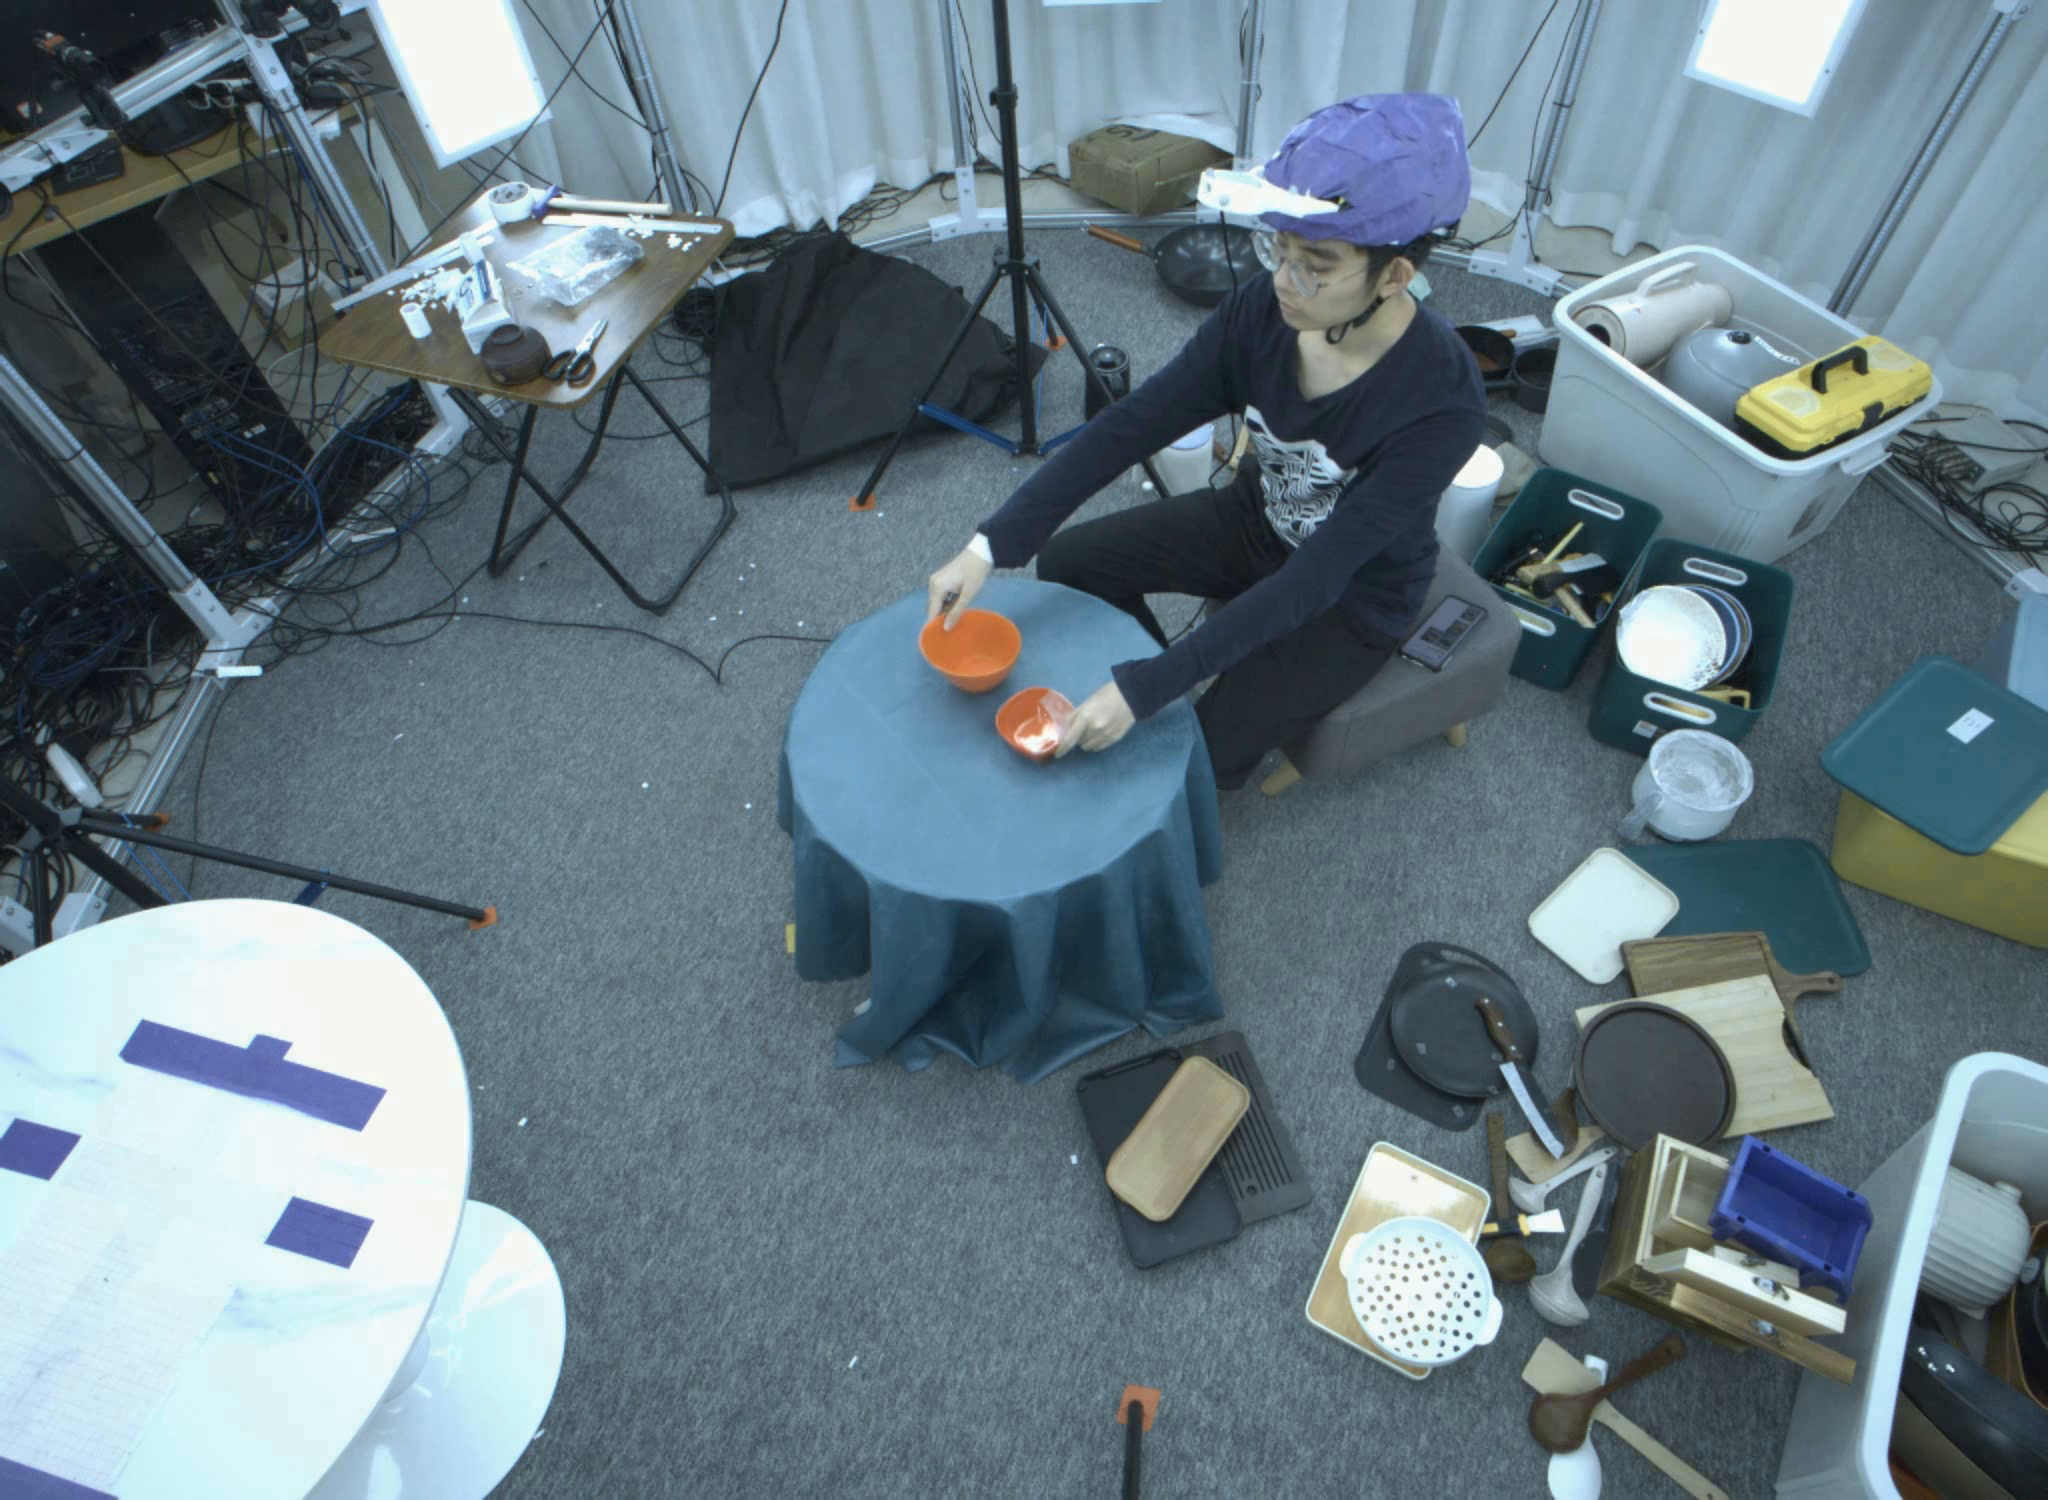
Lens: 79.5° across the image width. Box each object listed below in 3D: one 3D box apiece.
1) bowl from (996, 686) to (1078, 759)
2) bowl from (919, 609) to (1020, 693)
[{"bbox_3d":[0.020,-0.032,1.785,0.119,0.052,0.117,-1,55,3],"label":"bowl"},{"bbox_3d":[-0.079,-0.135,1.831,0.148,0.106,0.146,0,54,2],"label":"bowl"}]
